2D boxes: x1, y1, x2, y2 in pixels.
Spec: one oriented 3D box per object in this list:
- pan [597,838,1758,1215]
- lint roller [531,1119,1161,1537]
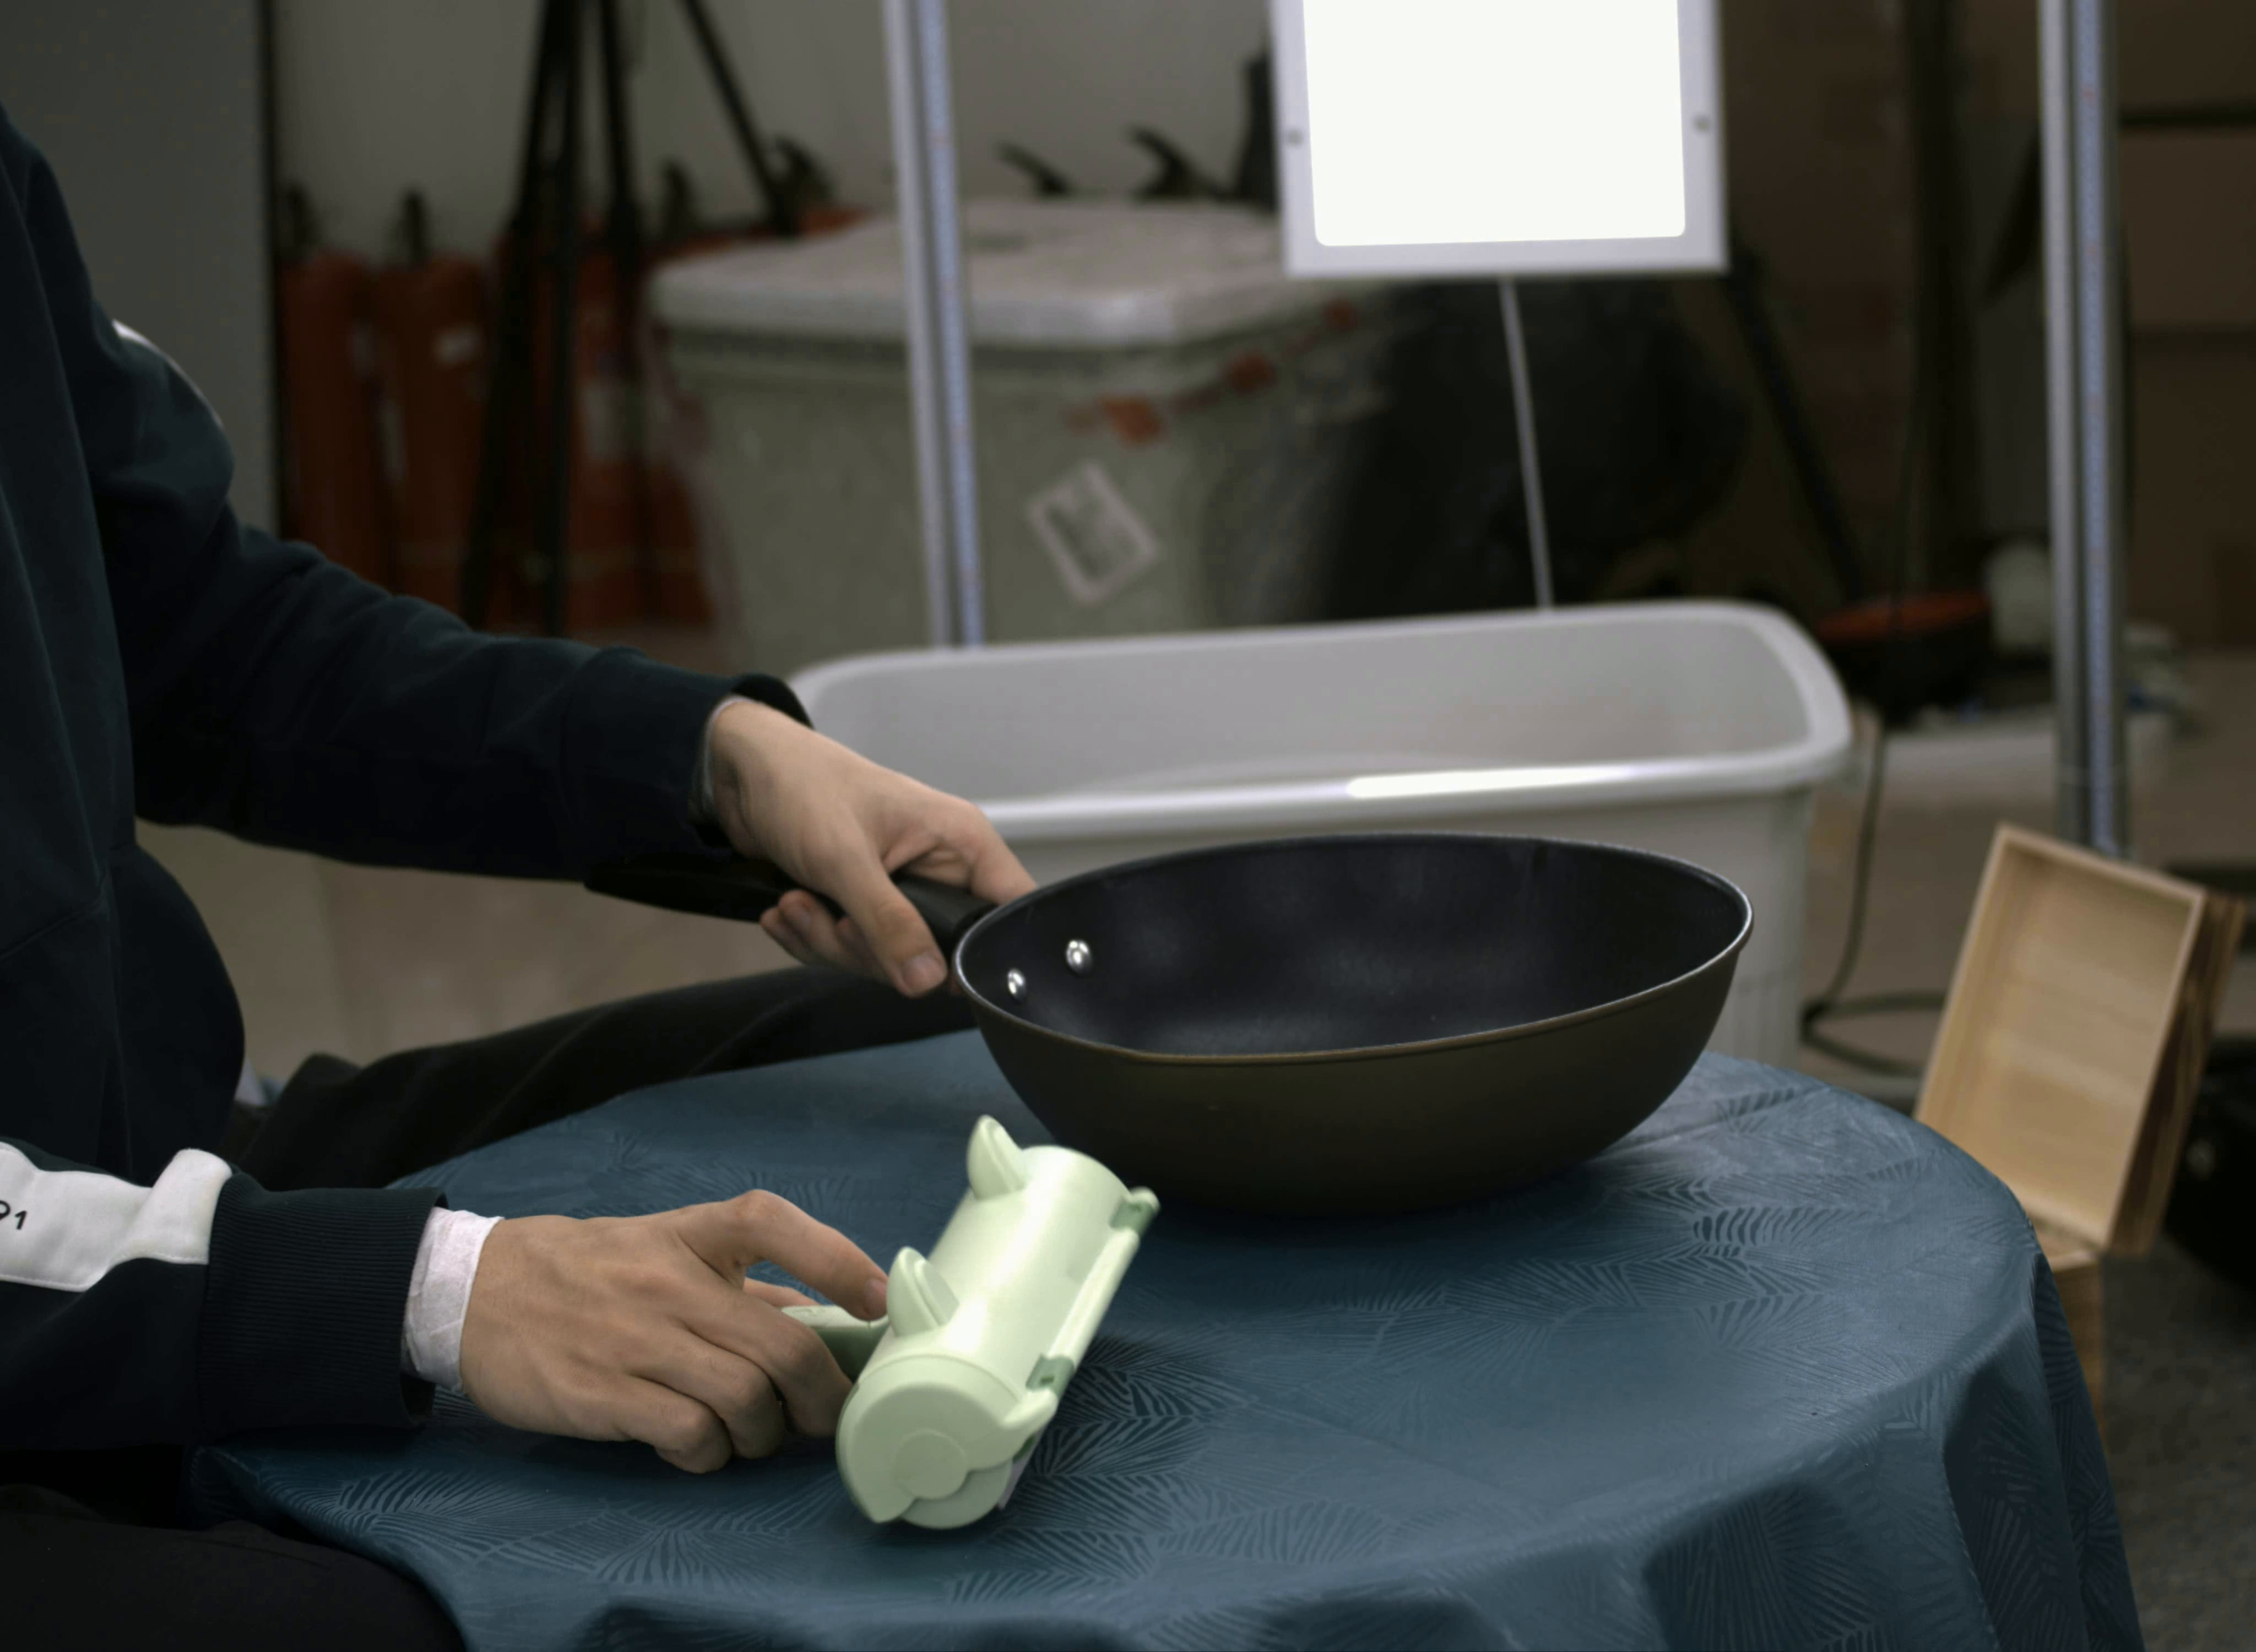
[{"bbox_3d":[0.002,0.069,1.952,0.472,0.087,0.281,3,15,32],"label":"pan"},{"bbox_3d":[-0.095,0.146,1.675,0.185,0.082,0.196,1,17,12],"label":"lint roller"}]
